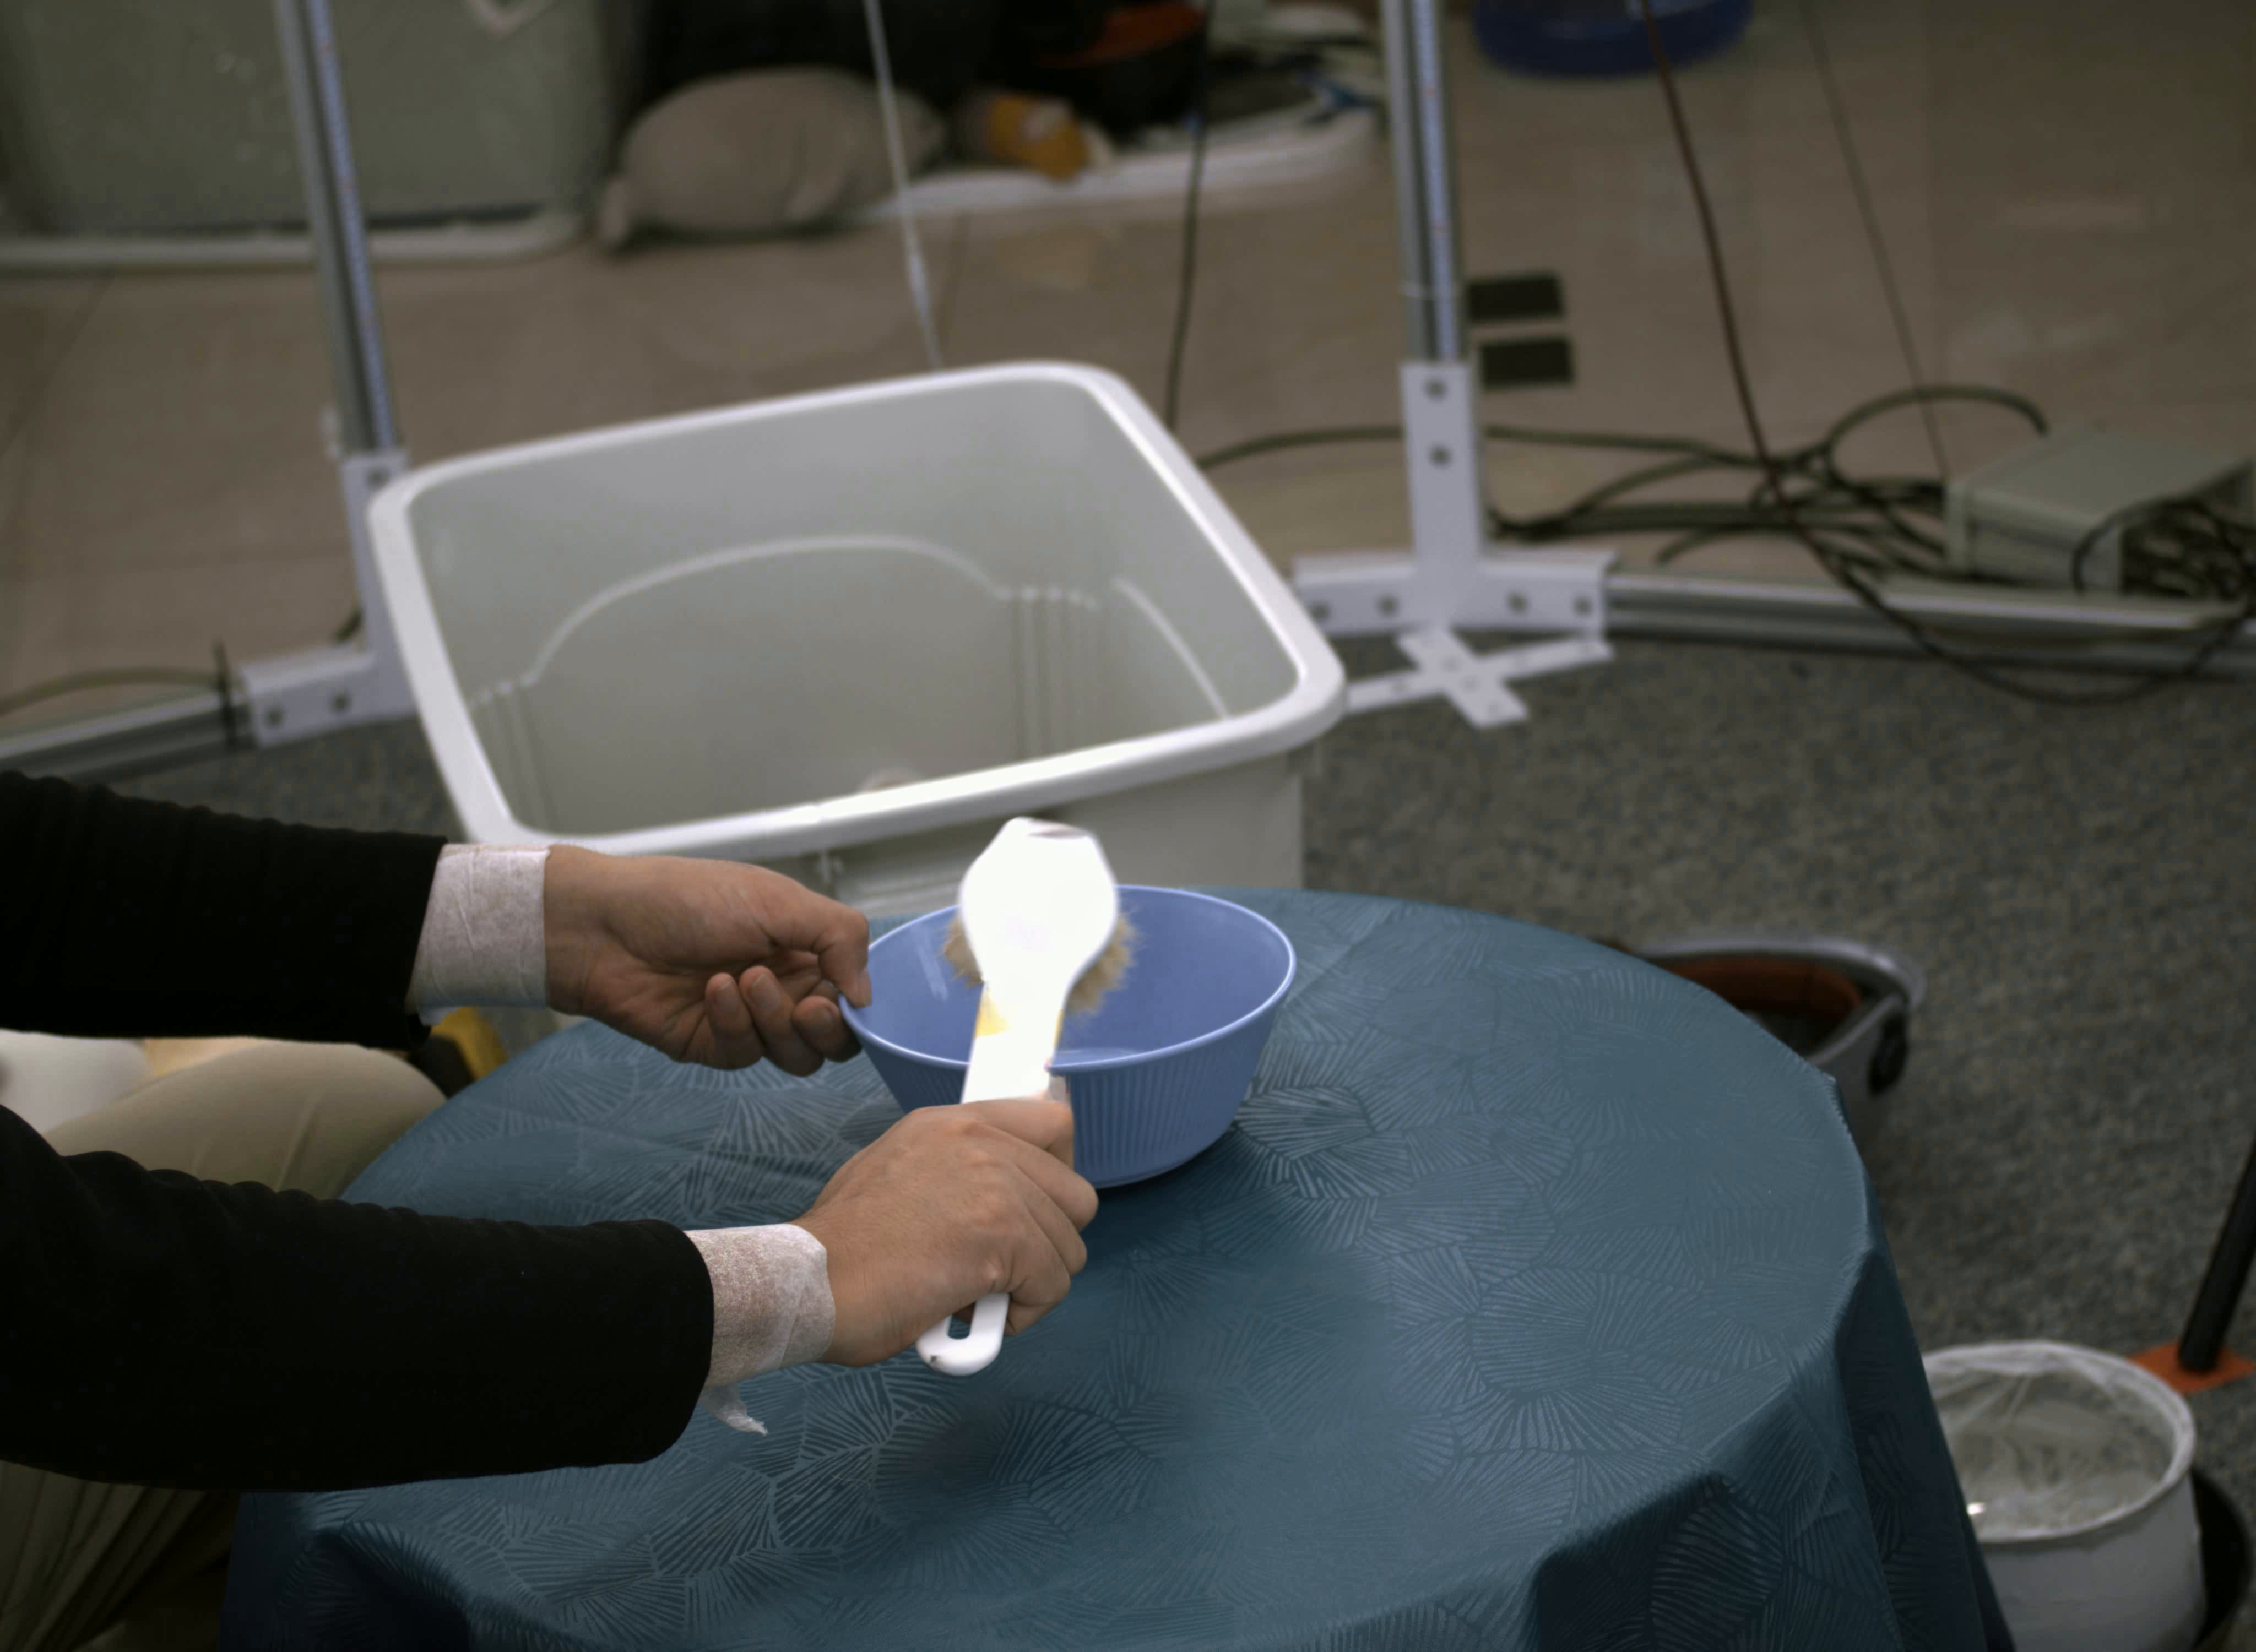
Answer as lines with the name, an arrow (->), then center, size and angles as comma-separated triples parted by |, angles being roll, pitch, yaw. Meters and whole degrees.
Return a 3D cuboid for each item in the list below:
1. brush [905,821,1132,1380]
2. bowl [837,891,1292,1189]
brush -> -0.047, 0.106, 2.026 | 0.068, 0.057, 0.262 | 4, 48, 6
bowl -> -0.022, 0.086, 2.172 | 0.176, 0.071, 0.174 | -4, 21, 2
